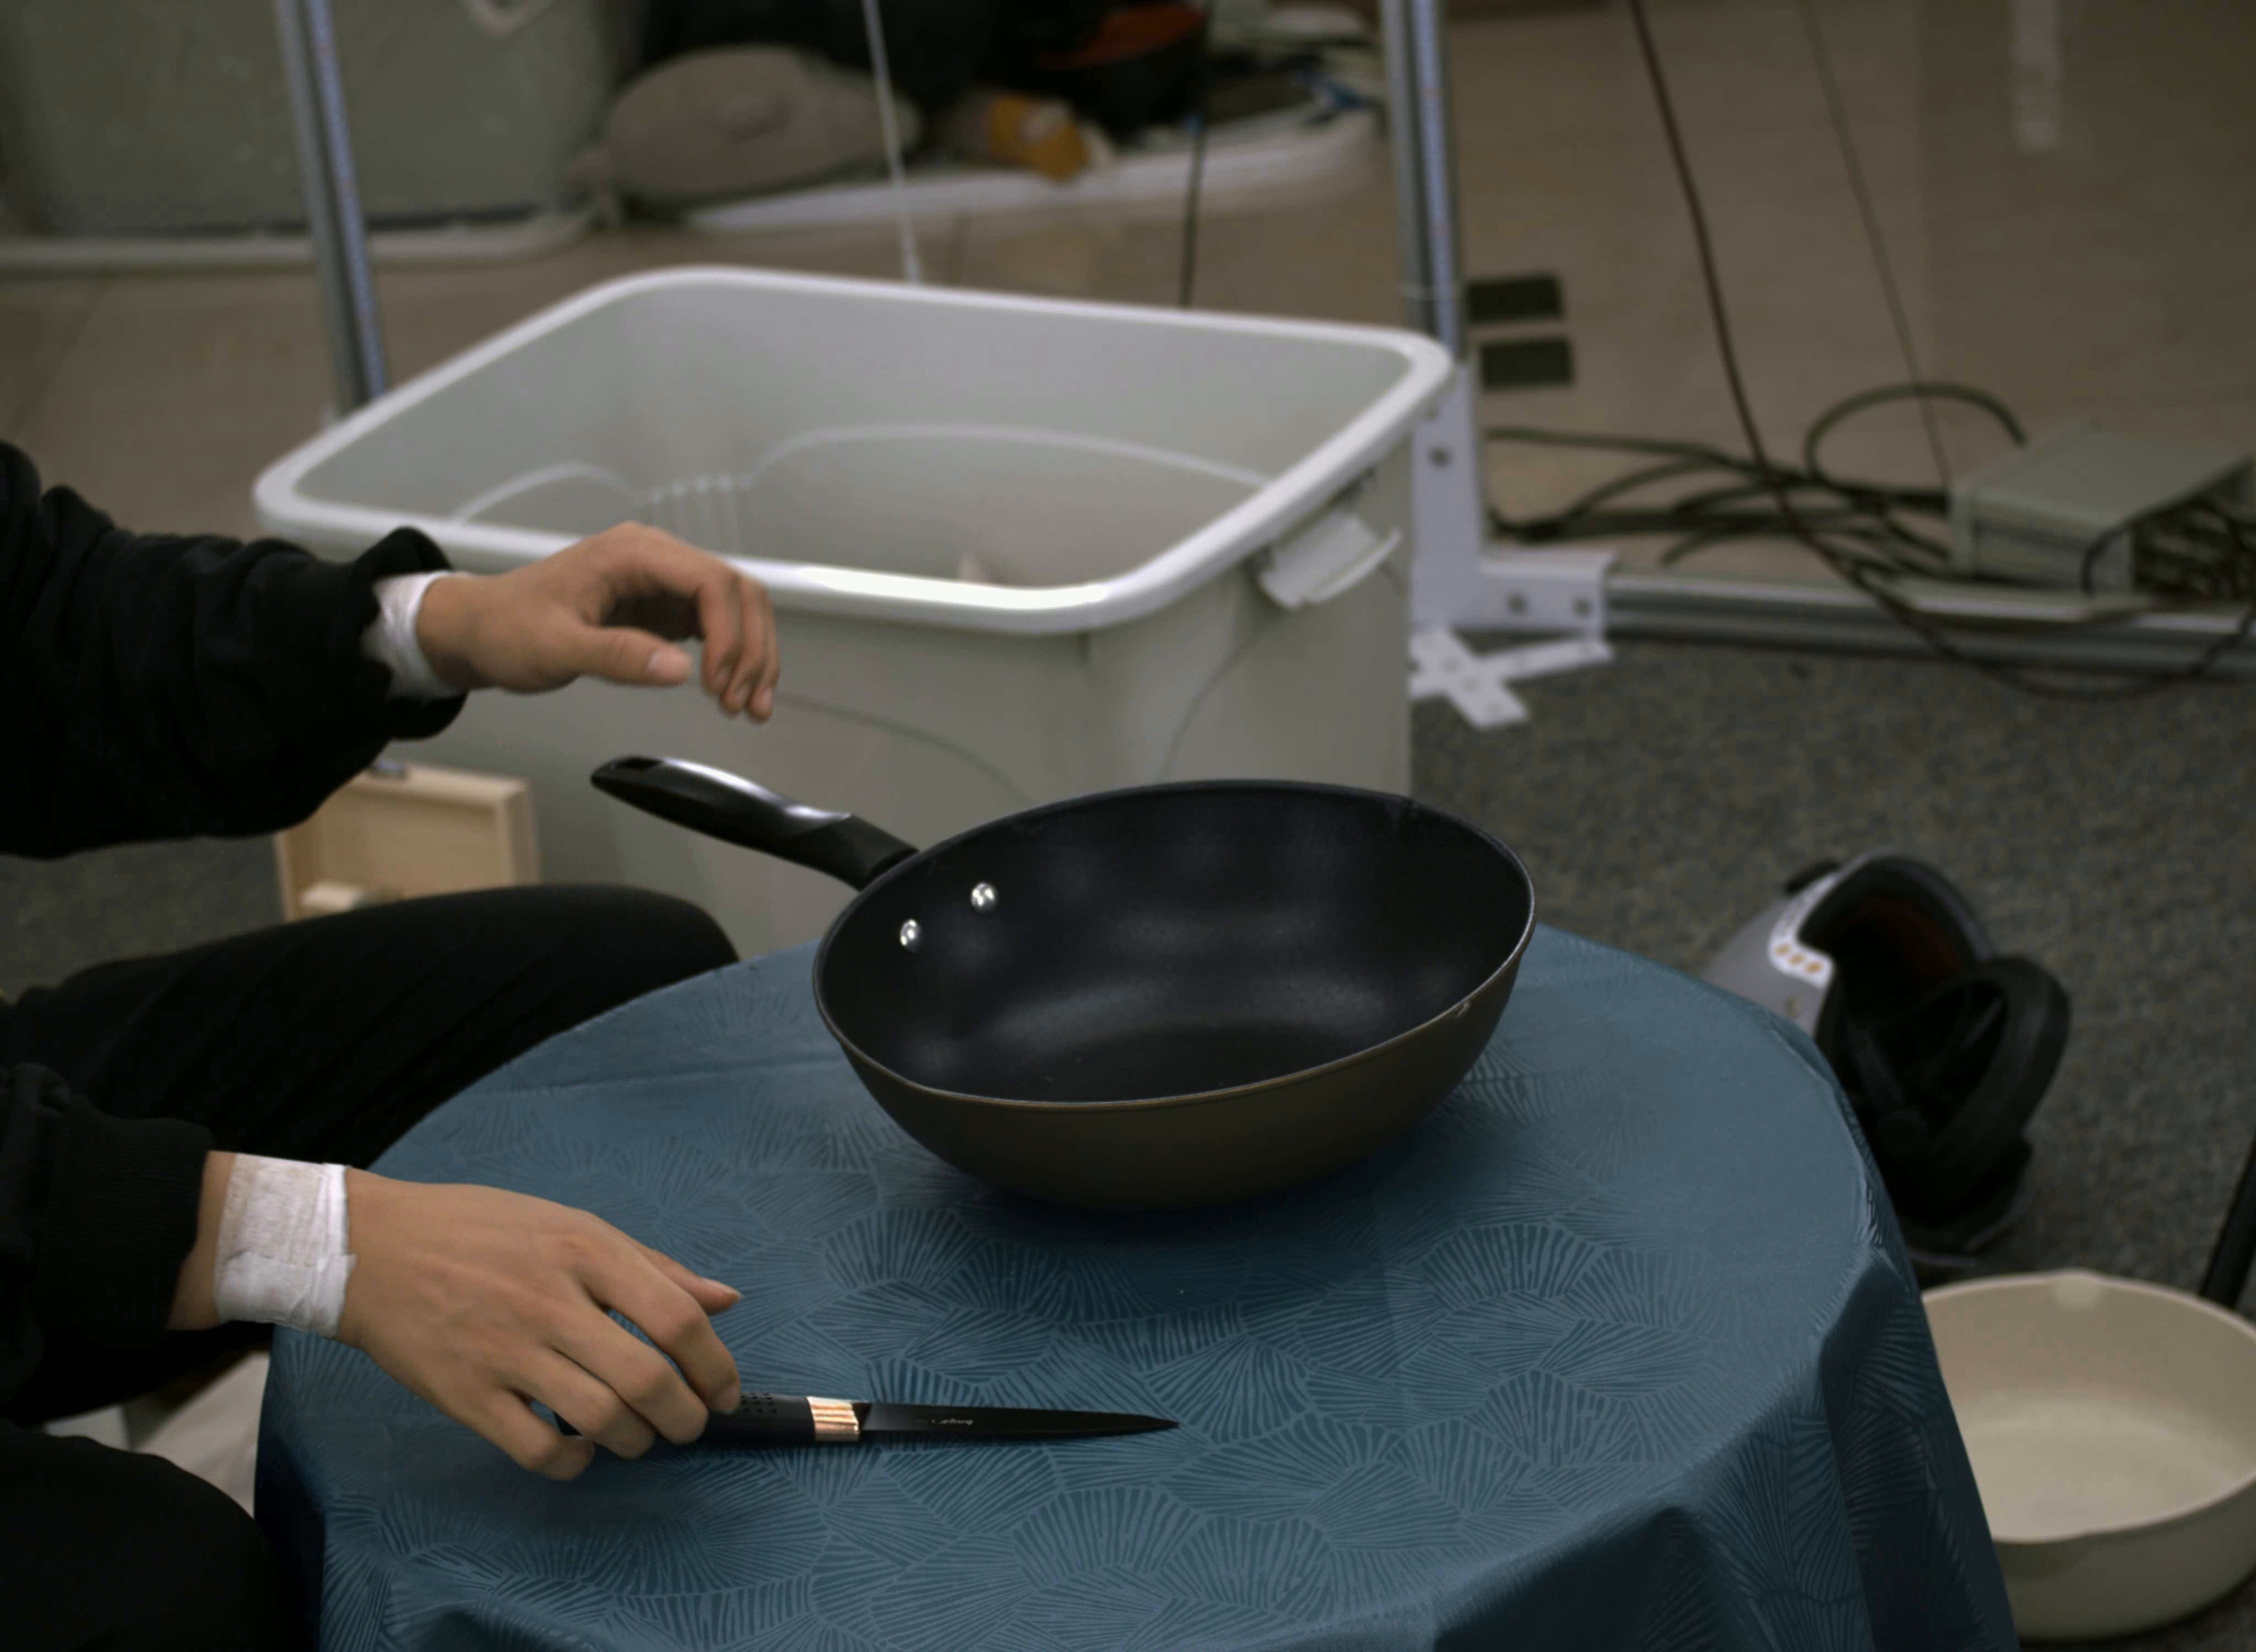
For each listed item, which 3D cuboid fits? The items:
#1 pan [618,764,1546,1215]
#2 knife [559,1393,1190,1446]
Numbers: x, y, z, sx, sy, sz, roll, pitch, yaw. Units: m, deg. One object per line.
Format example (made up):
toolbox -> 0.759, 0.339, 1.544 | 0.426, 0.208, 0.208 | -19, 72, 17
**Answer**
pan -> -0.043, 0.058, 2.238 | 0.460, 0.088, 0.285 | 15, 33, 41
knife -> -0.090, 0.210, 2.011 | 0.225, 0.017, 0.026 | -1, 11, 9
